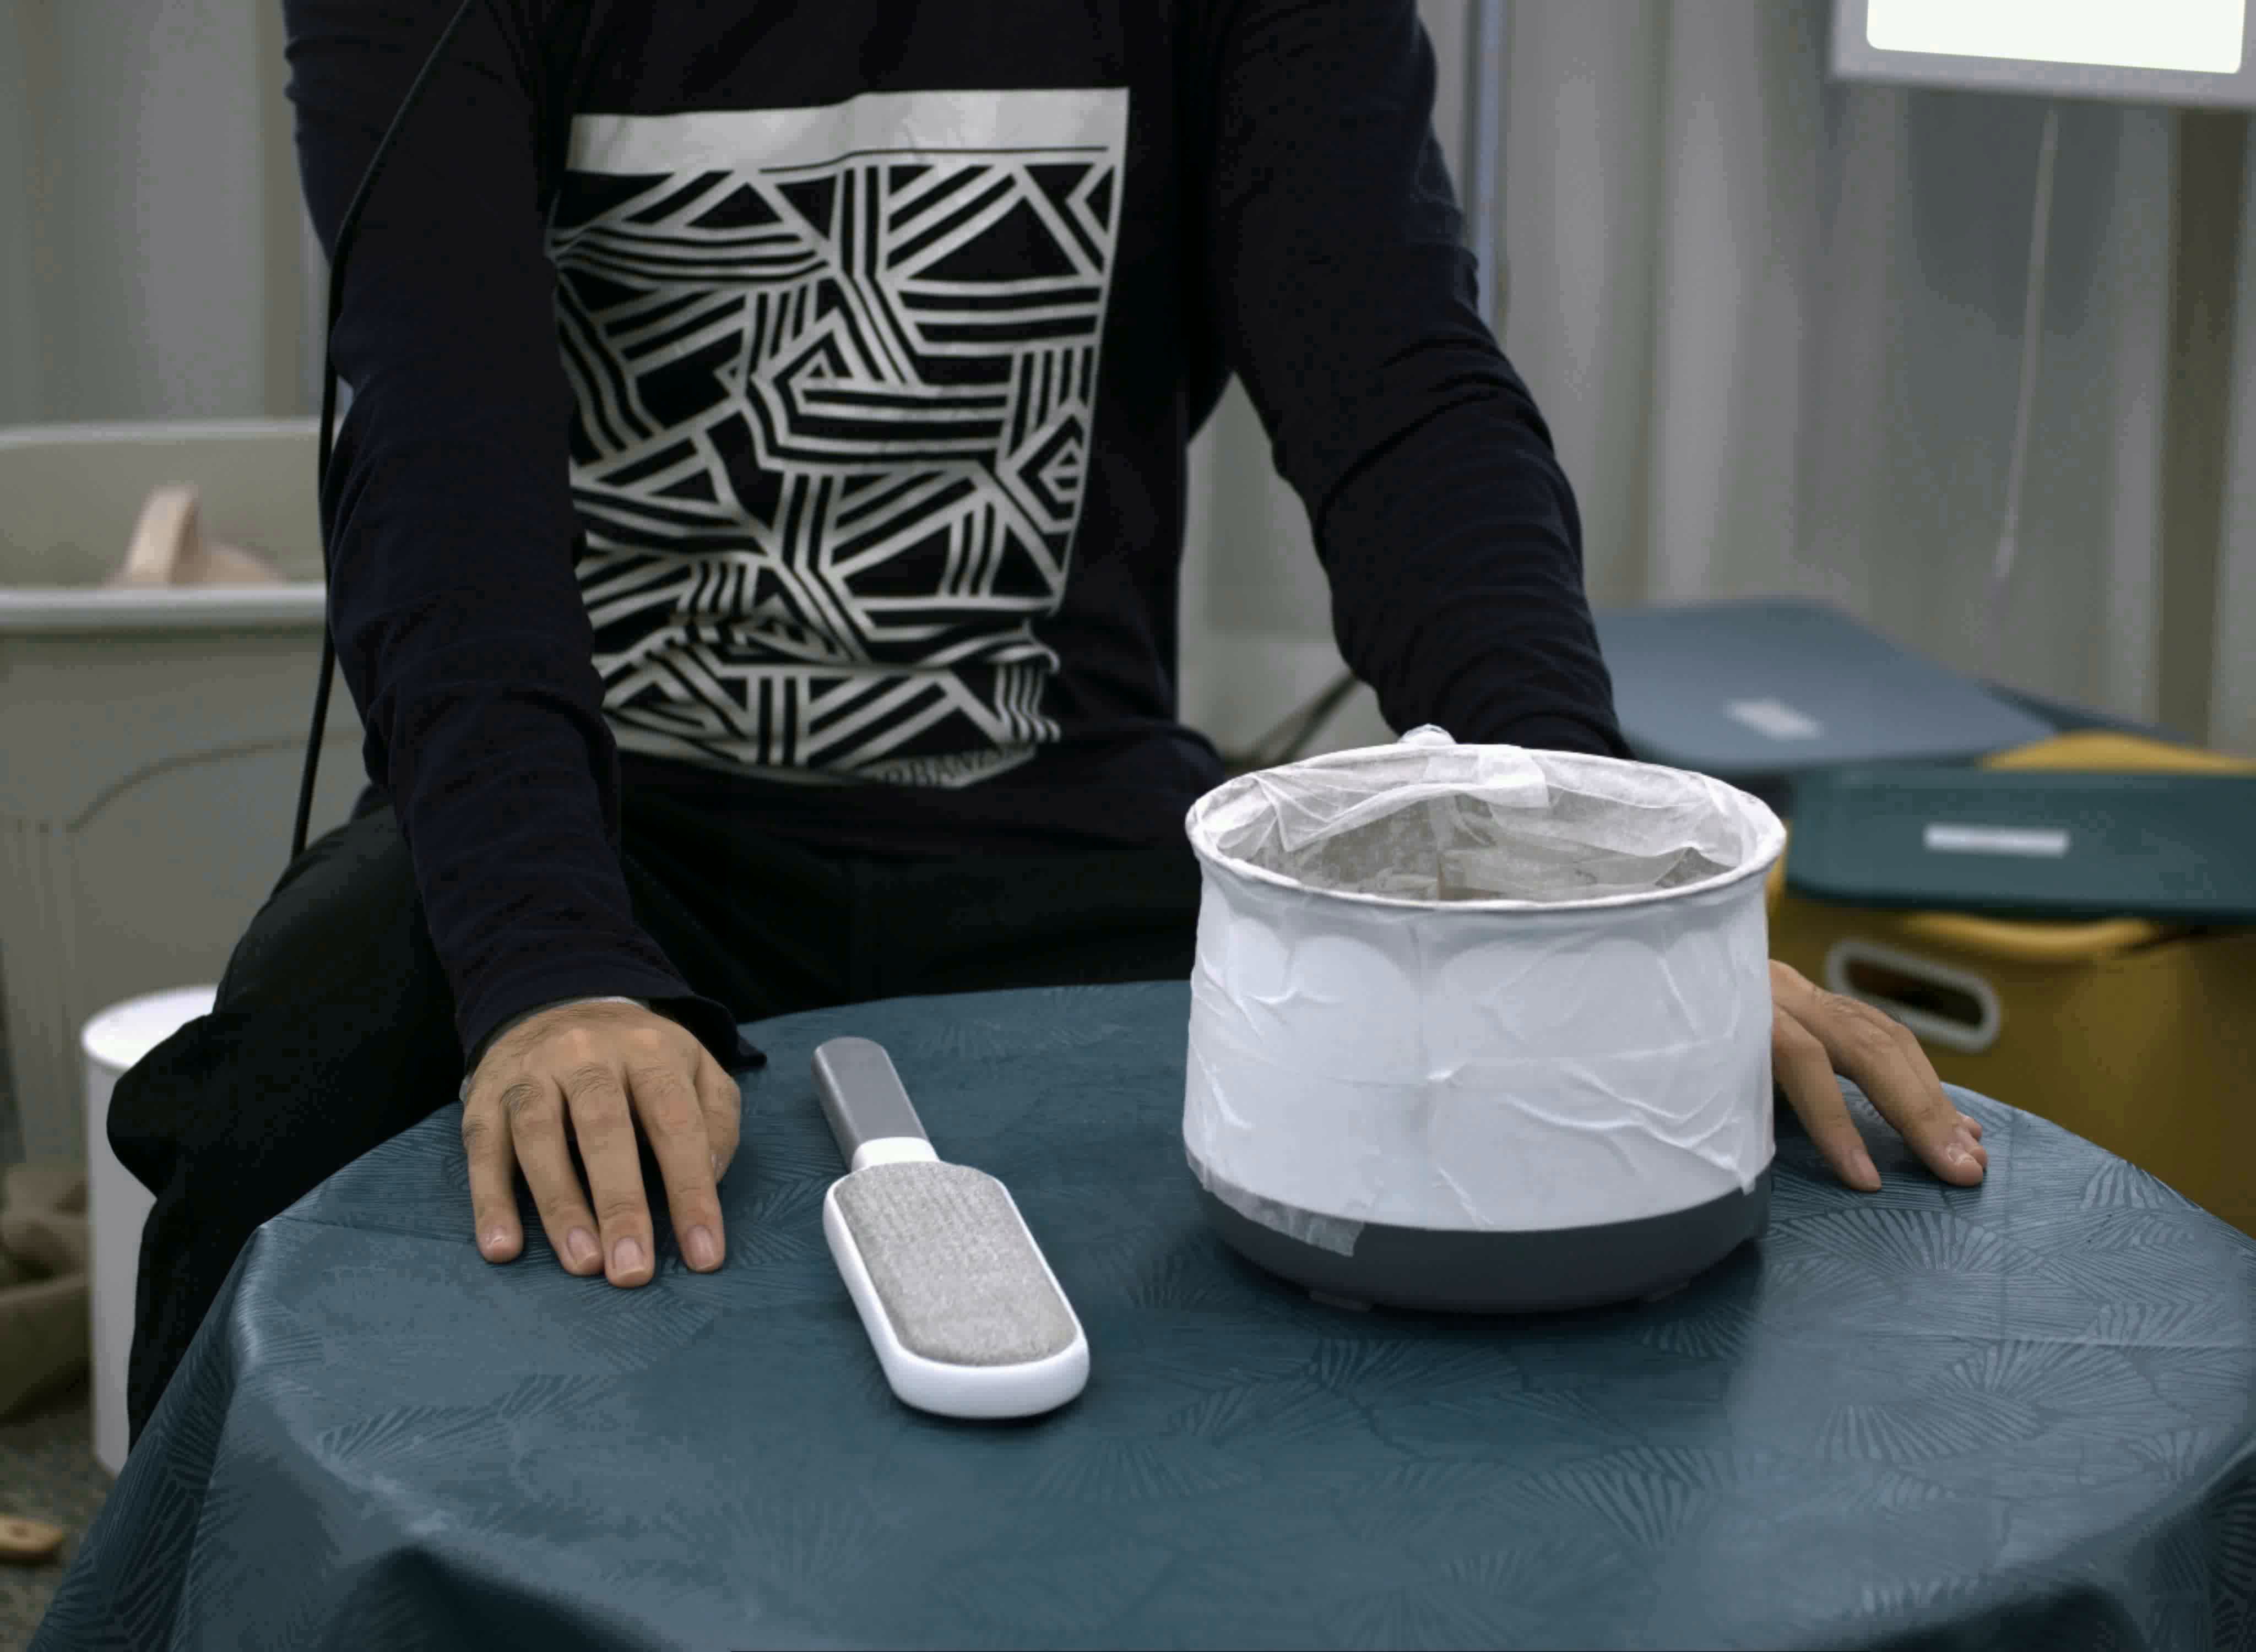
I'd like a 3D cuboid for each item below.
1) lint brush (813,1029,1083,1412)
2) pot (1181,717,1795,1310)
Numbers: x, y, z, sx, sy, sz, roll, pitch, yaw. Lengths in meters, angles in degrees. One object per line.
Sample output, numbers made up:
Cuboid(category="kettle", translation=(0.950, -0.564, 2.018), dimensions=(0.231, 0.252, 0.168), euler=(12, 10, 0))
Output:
Cuboid(category="lint brush", translation=(-0.062, 0.113, 1.571), dimensions=(0.060, 0.021, 0.306), euler=(-9, 17, -9))
Cuboid(category="pot", translation=(0.101, 0.051, 1.587), dimensions=(0.178, 0.137, 0.232), euler=(0, 16, -8))
